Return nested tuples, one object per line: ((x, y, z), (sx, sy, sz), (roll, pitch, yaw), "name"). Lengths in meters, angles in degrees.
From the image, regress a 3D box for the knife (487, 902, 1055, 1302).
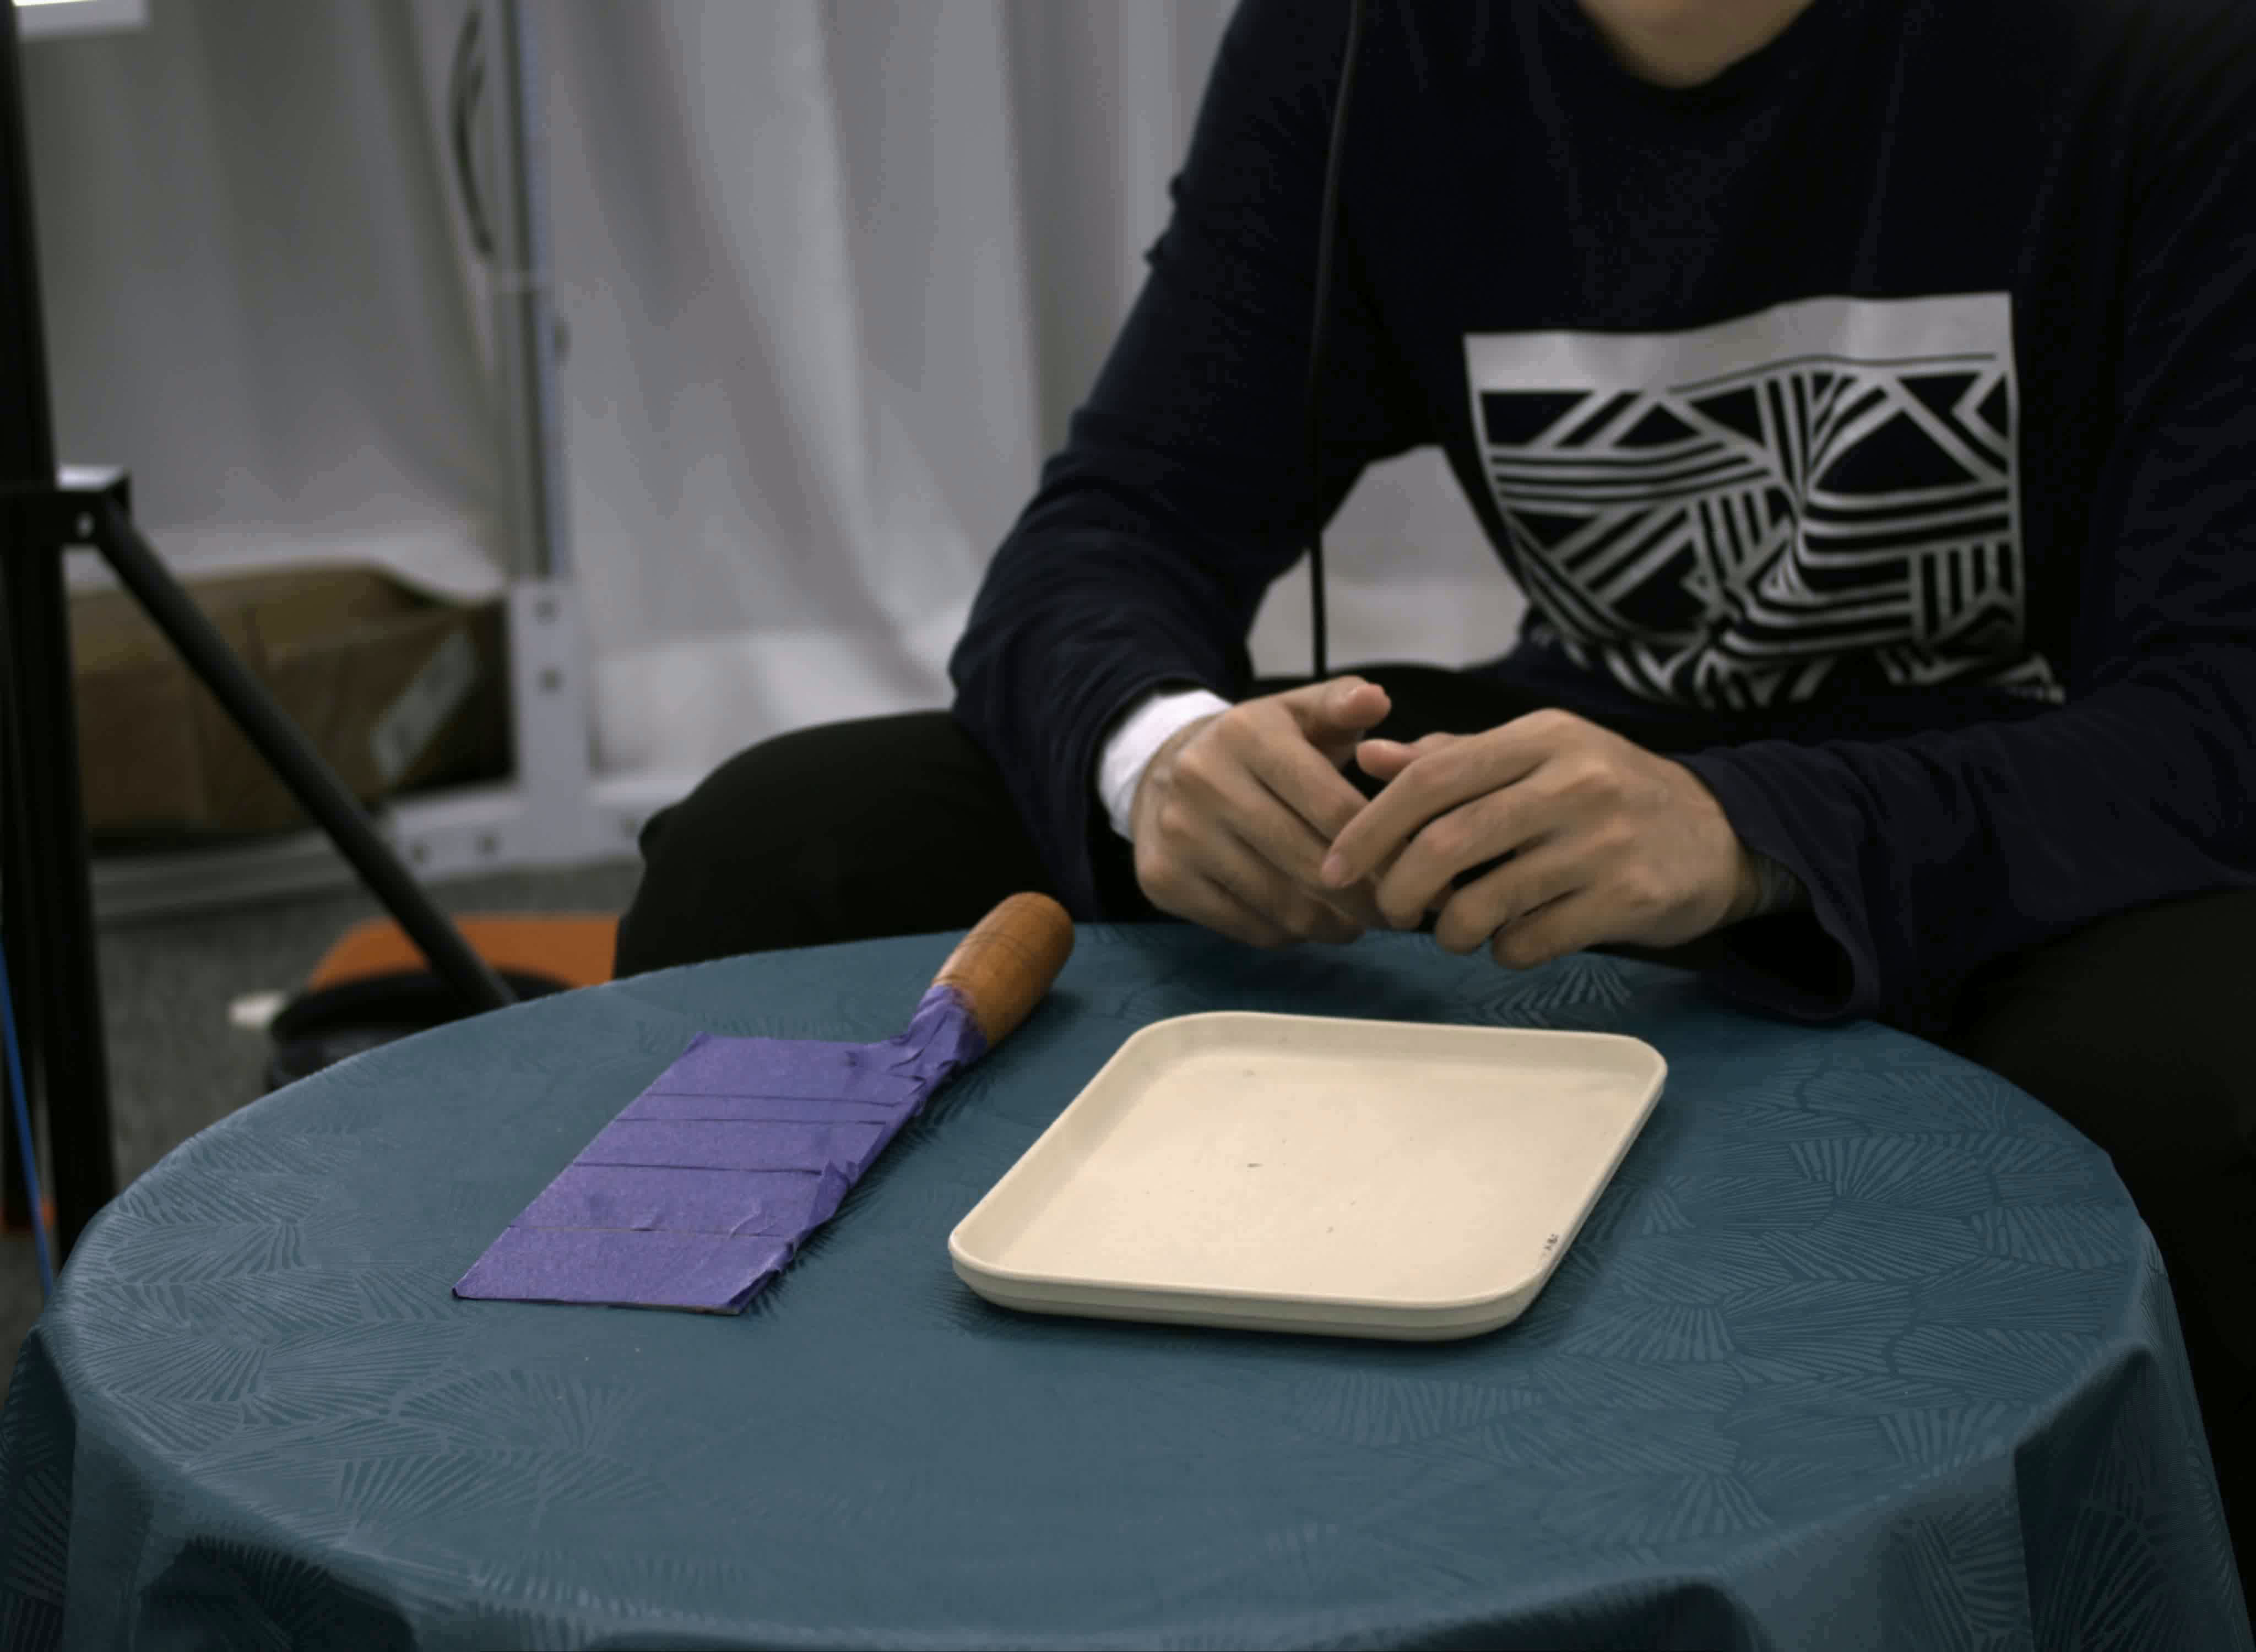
((-0.106, 0.081, 1.626), (0.105, 0.032, 0.312), (2, 17, 16), "knife")

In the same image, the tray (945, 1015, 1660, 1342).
((0.056, 0.101, 1.545), (0.173, 0.017, 0.237), (2, 16, 18), "tray")
